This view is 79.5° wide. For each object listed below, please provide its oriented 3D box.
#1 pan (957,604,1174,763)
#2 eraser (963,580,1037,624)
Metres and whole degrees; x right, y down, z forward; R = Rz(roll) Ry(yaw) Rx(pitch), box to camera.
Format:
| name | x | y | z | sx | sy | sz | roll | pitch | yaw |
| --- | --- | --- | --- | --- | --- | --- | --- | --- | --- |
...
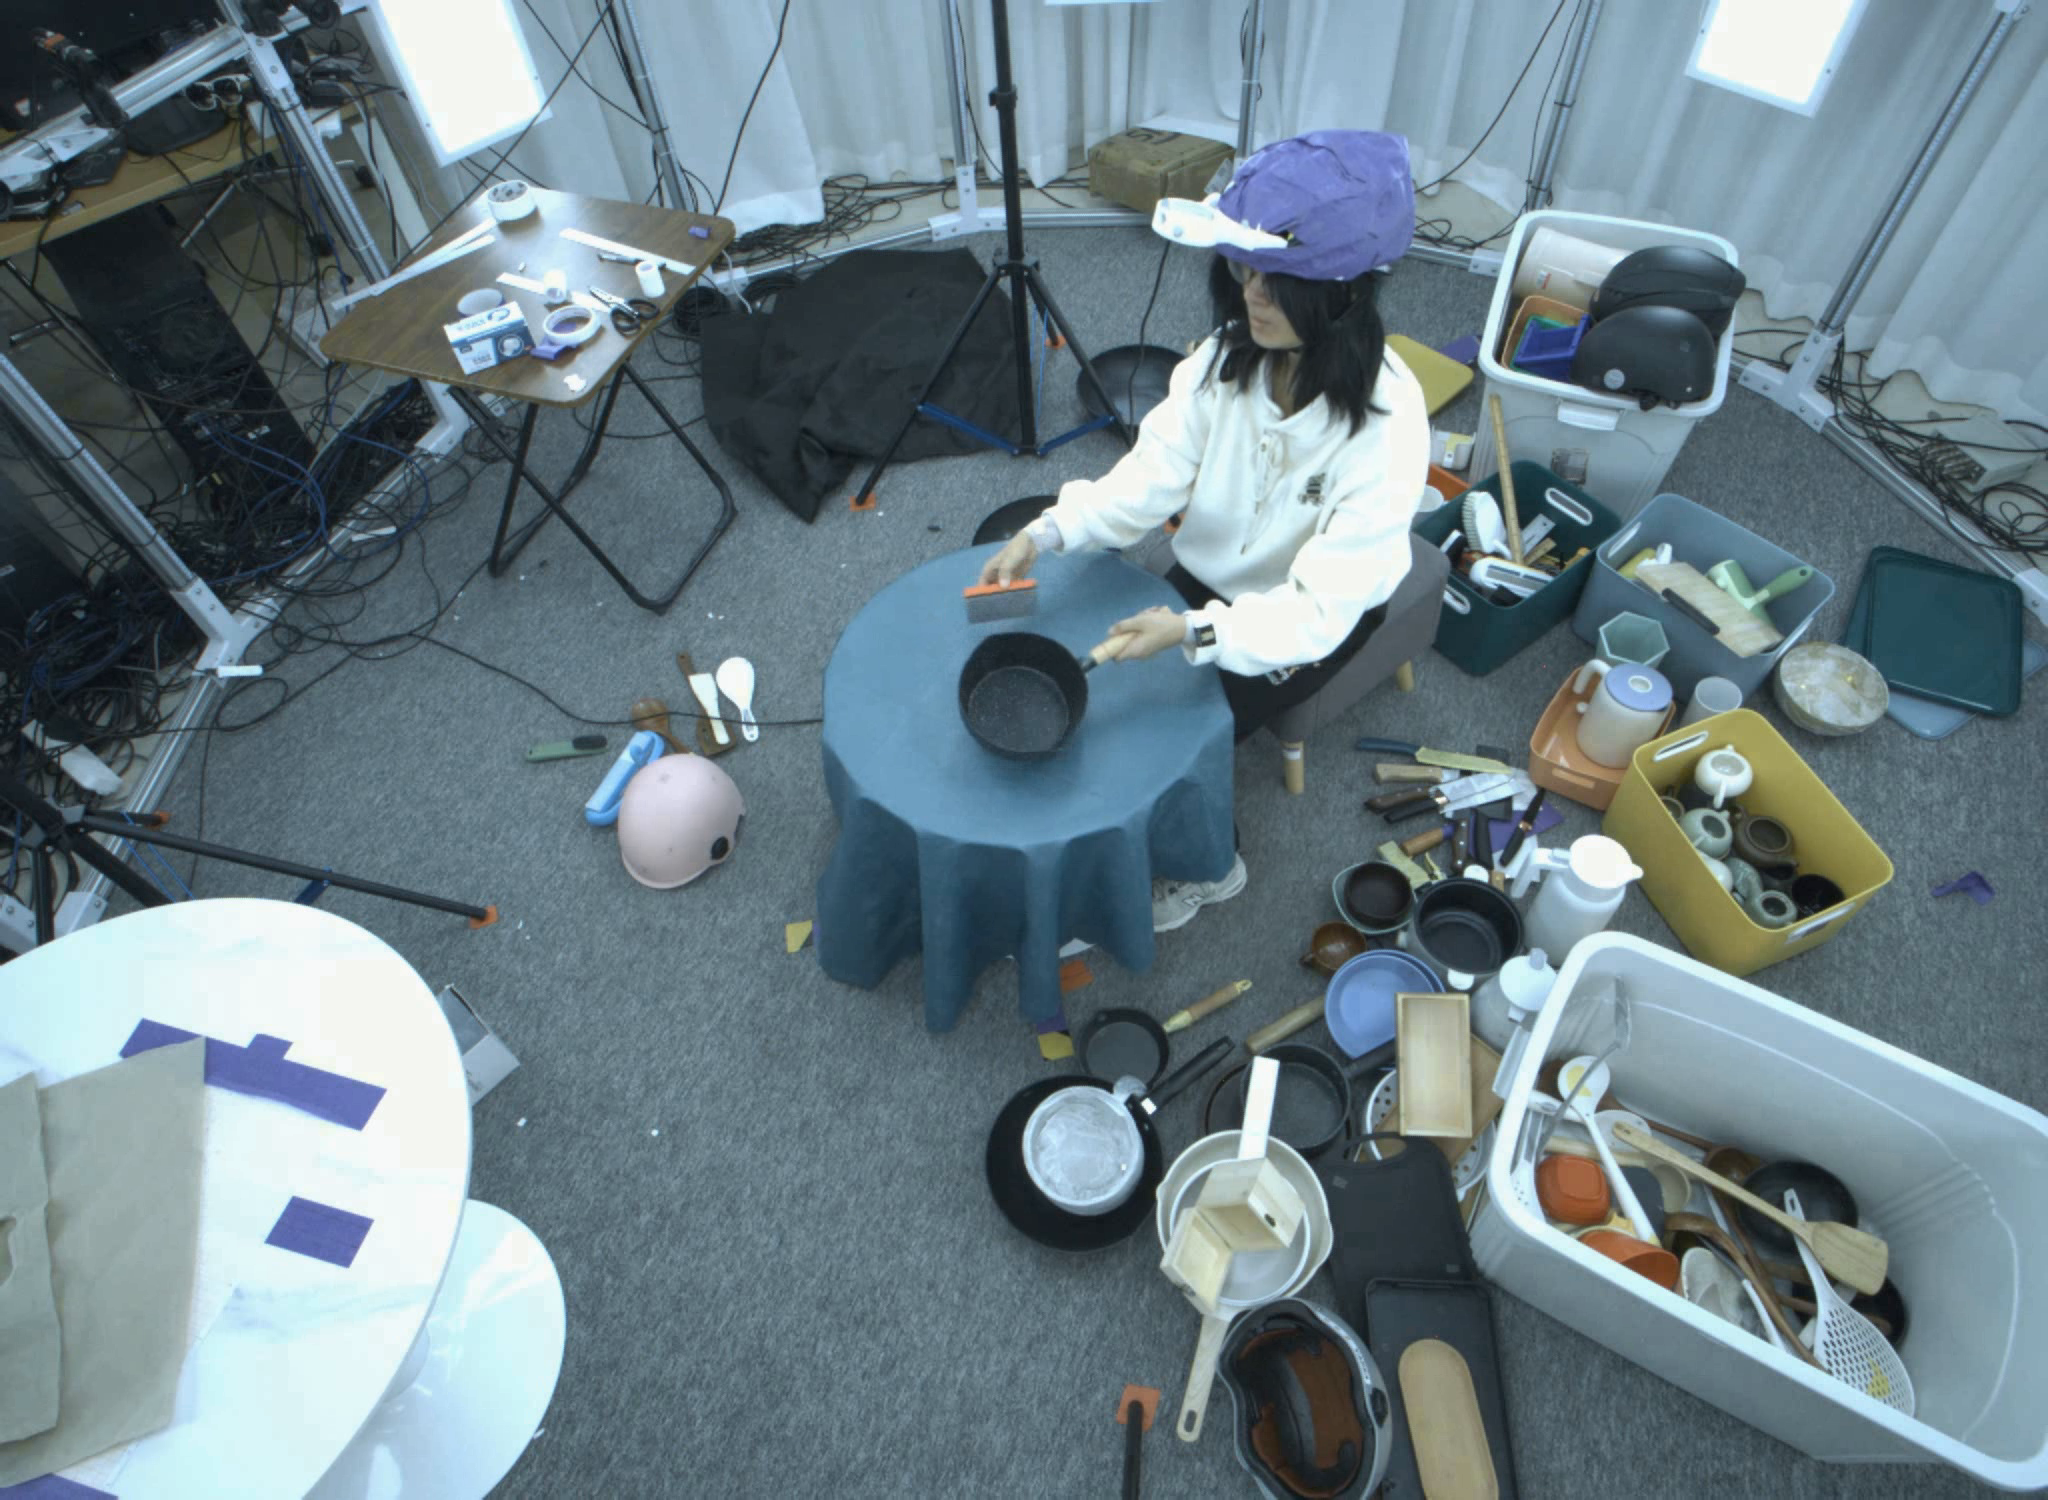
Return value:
| name | x | y | z | sx | sy | sz | roll | pitch | yaw |
| --- | --- | --- | --- | --- | --- | --- | --- | --- | --- |
| pan | 0.063 | -0.110 | 1.771 | 0.345 | 0.108 | 0.205 | -30 | 76 | -15 |
| eraser | -0.035 | -0.218 | 1.814 | 0.108 | 0.059 | 0.022 | -9 | 58 | -5 |
